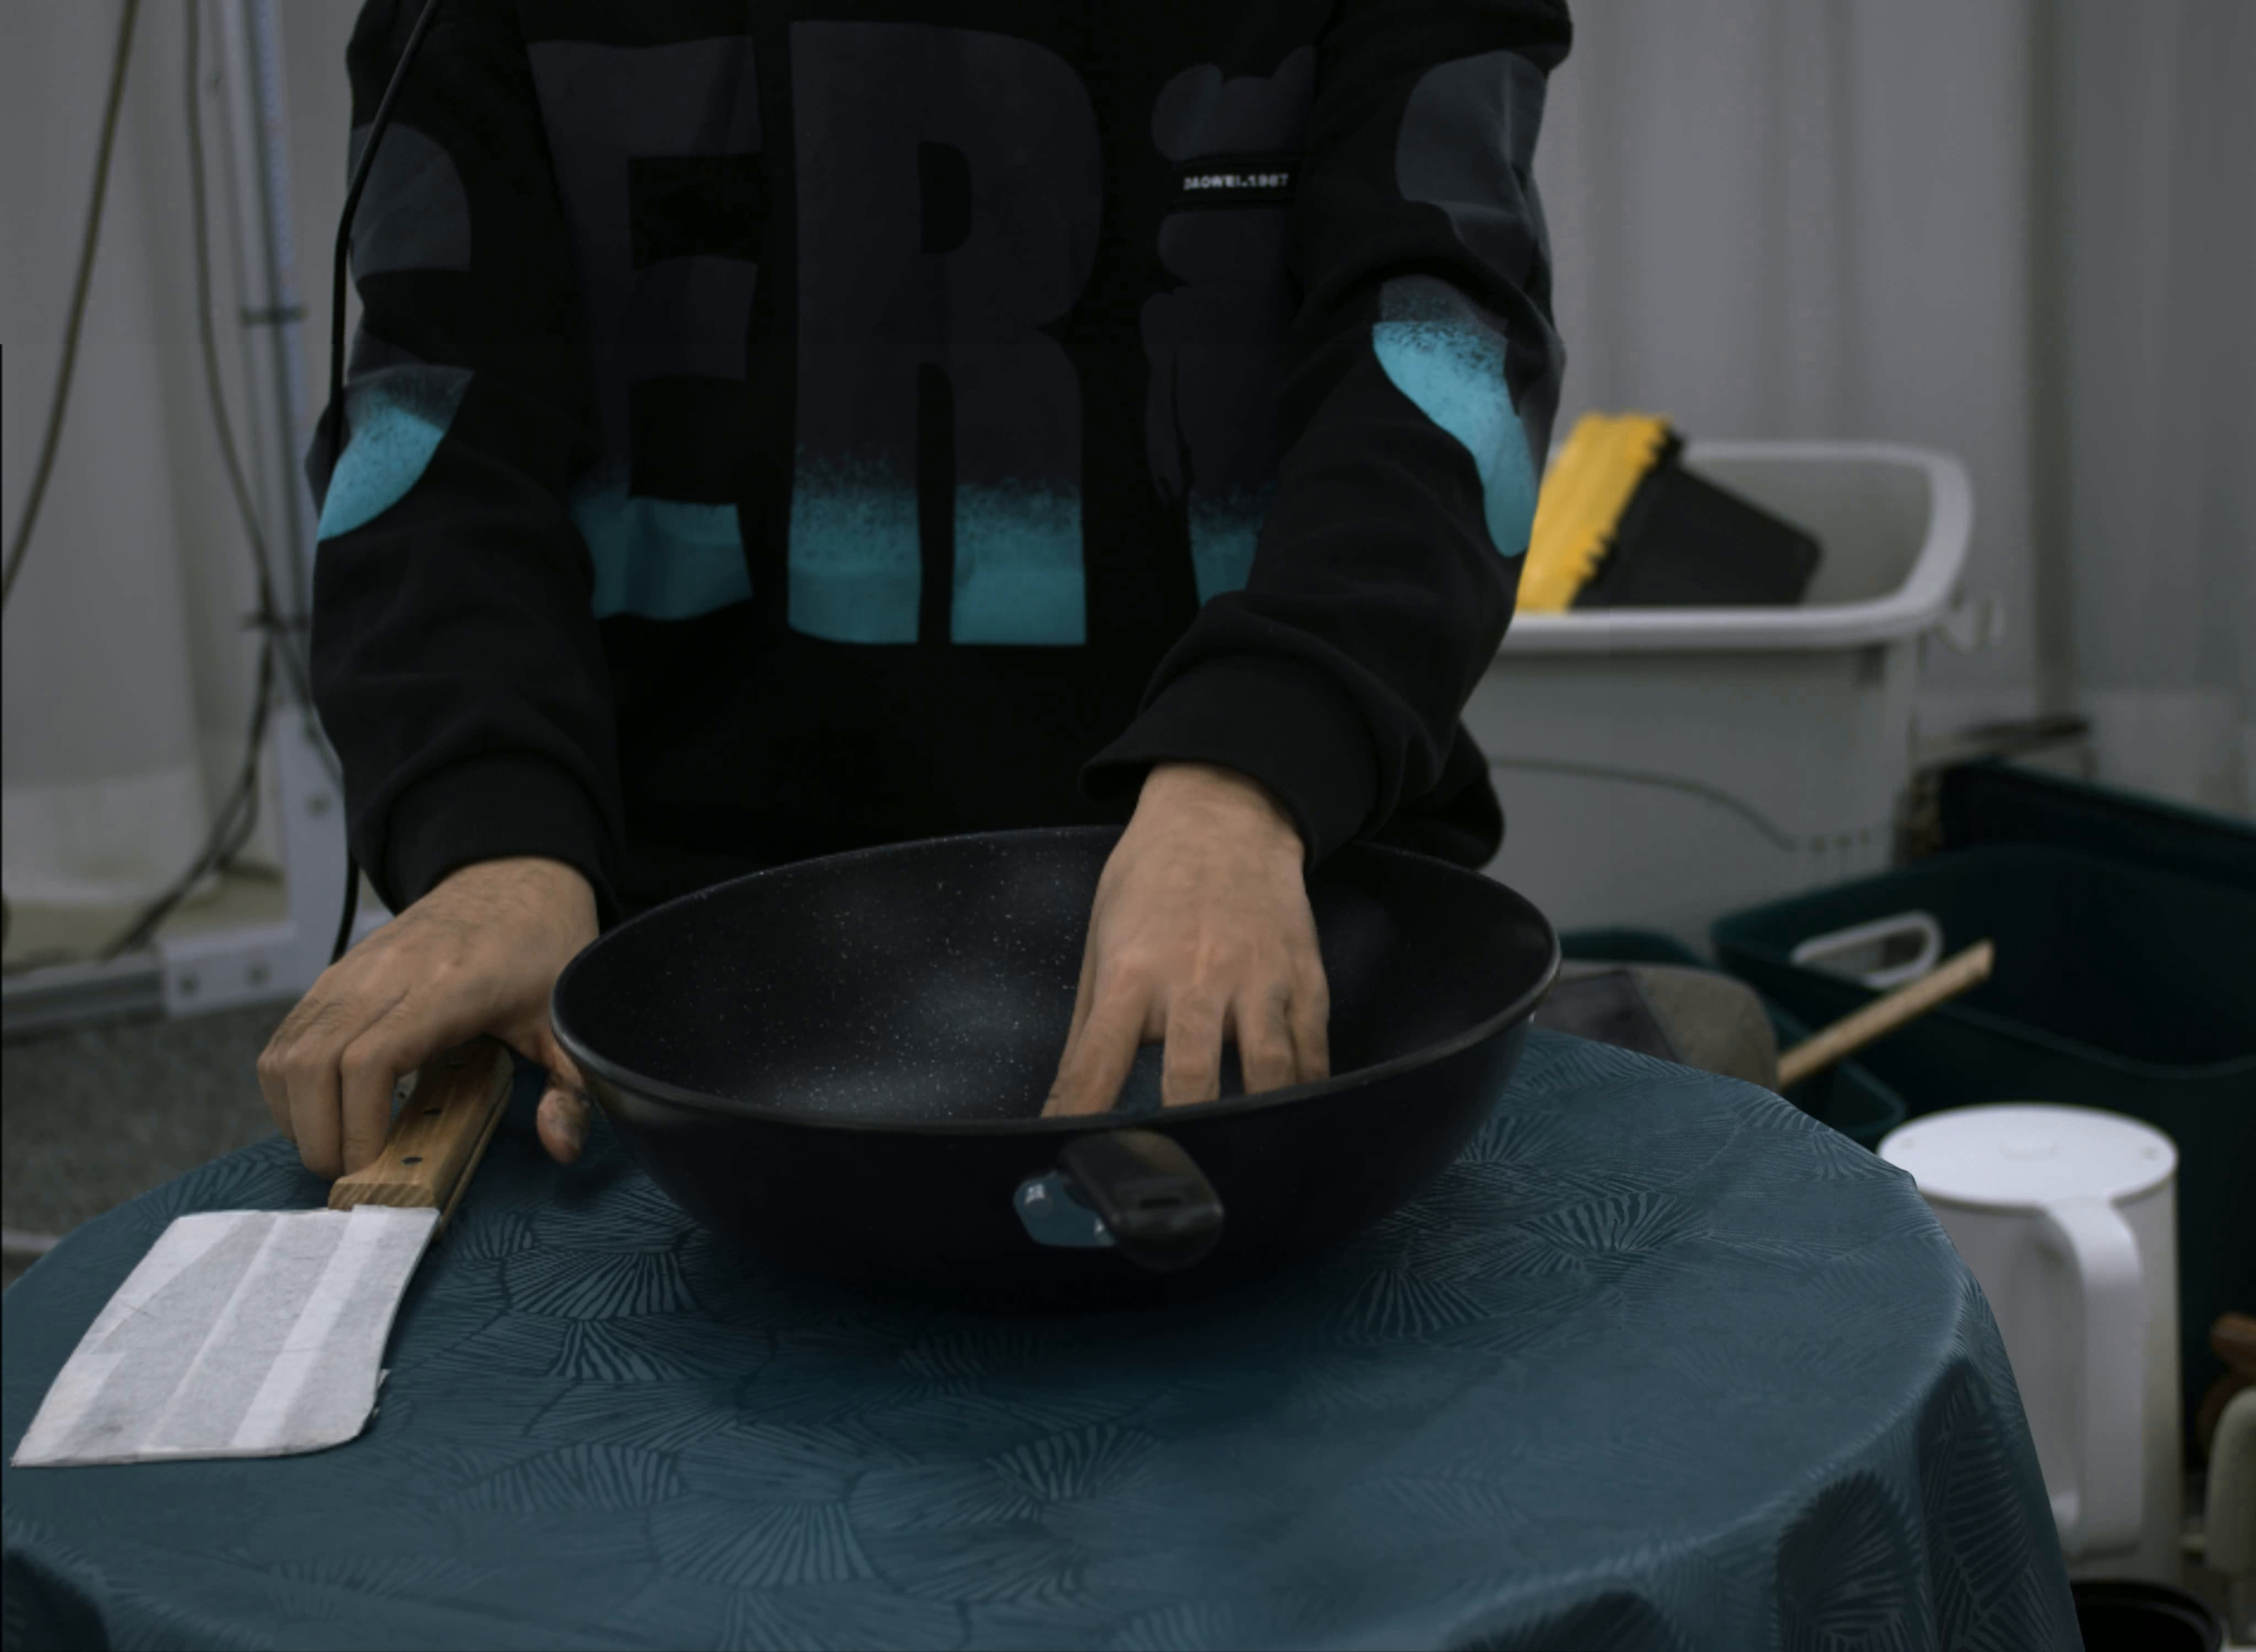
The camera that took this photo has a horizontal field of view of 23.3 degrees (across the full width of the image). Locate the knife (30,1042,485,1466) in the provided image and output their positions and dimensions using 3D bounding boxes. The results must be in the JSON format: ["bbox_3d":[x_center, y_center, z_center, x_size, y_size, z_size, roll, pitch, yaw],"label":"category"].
[{"bbox_3d":[-0.247,0.130,1.674,0.114,0.021,0.317,-1,18,9],"label":"knife"}]

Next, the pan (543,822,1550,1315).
[{"bbox_3d":[-0.014,0.092,1.601,0.309,0.111,0.480,-6,15,-5],"label":"pan"}]
